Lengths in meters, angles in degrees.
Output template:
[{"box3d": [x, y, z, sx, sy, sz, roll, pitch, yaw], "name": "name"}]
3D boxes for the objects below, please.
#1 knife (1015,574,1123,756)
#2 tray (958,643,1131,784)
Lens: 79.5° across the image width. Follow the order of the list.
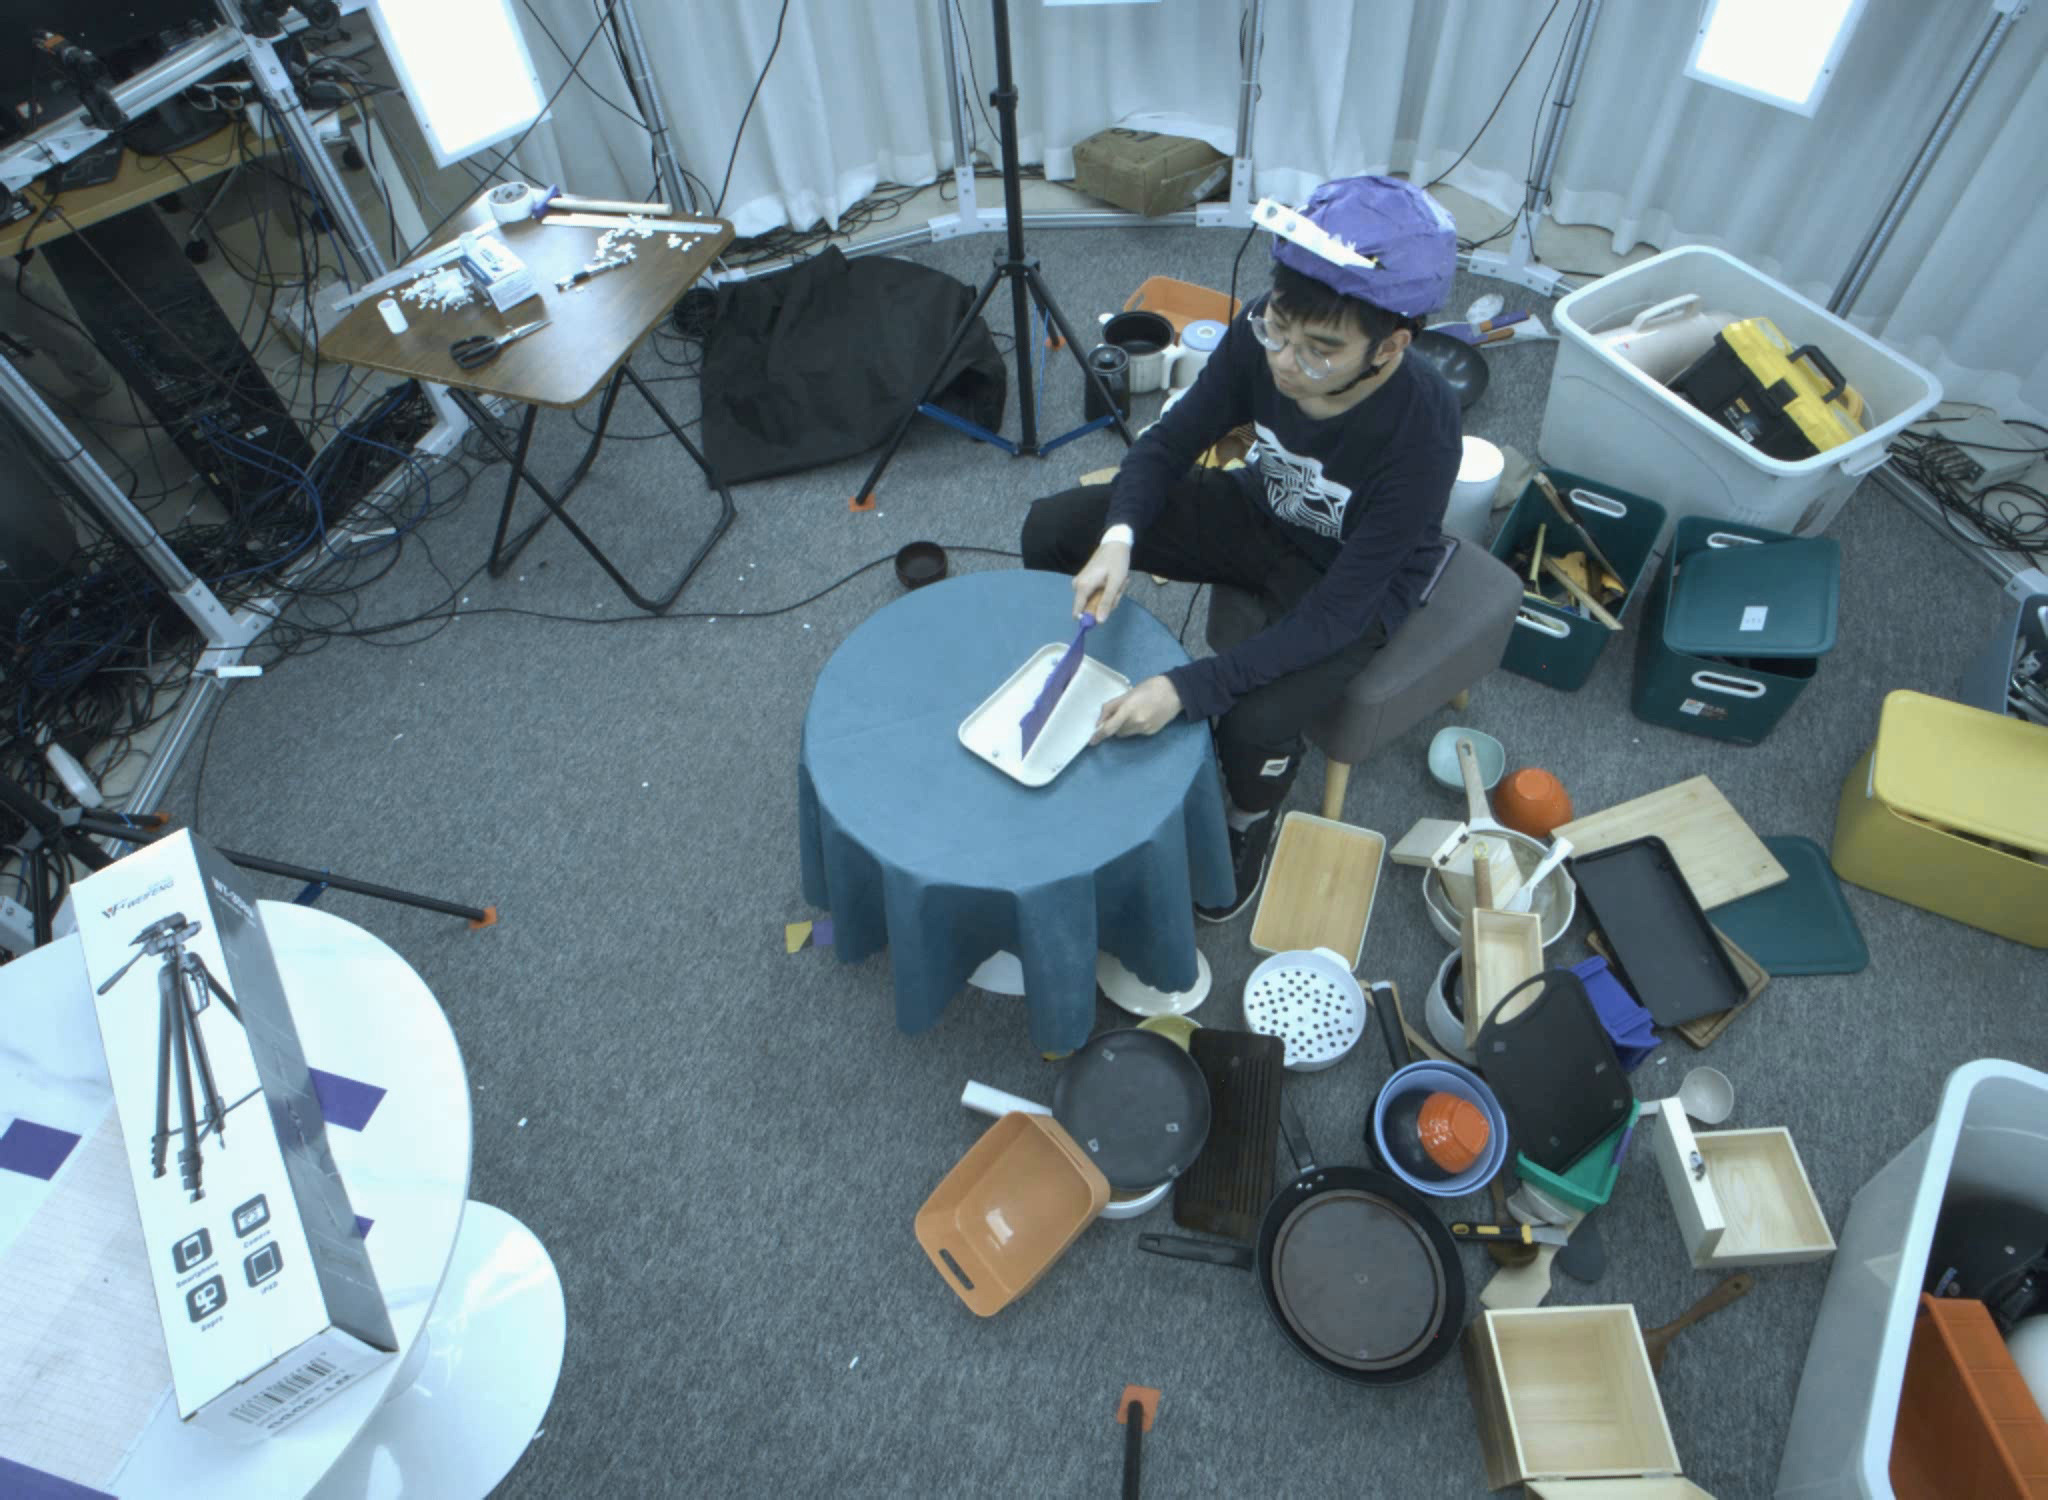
[{"box3d": [0.062, -0.126, 1.805, 0.032, 0.104, 0.316, 26, 60, 14], "name": "knife"}, {"box3d": [0.032, -0.055, 1.819, 0.168, 0.018, 0.241, 32, 61, 25], "name": "tray"}]
